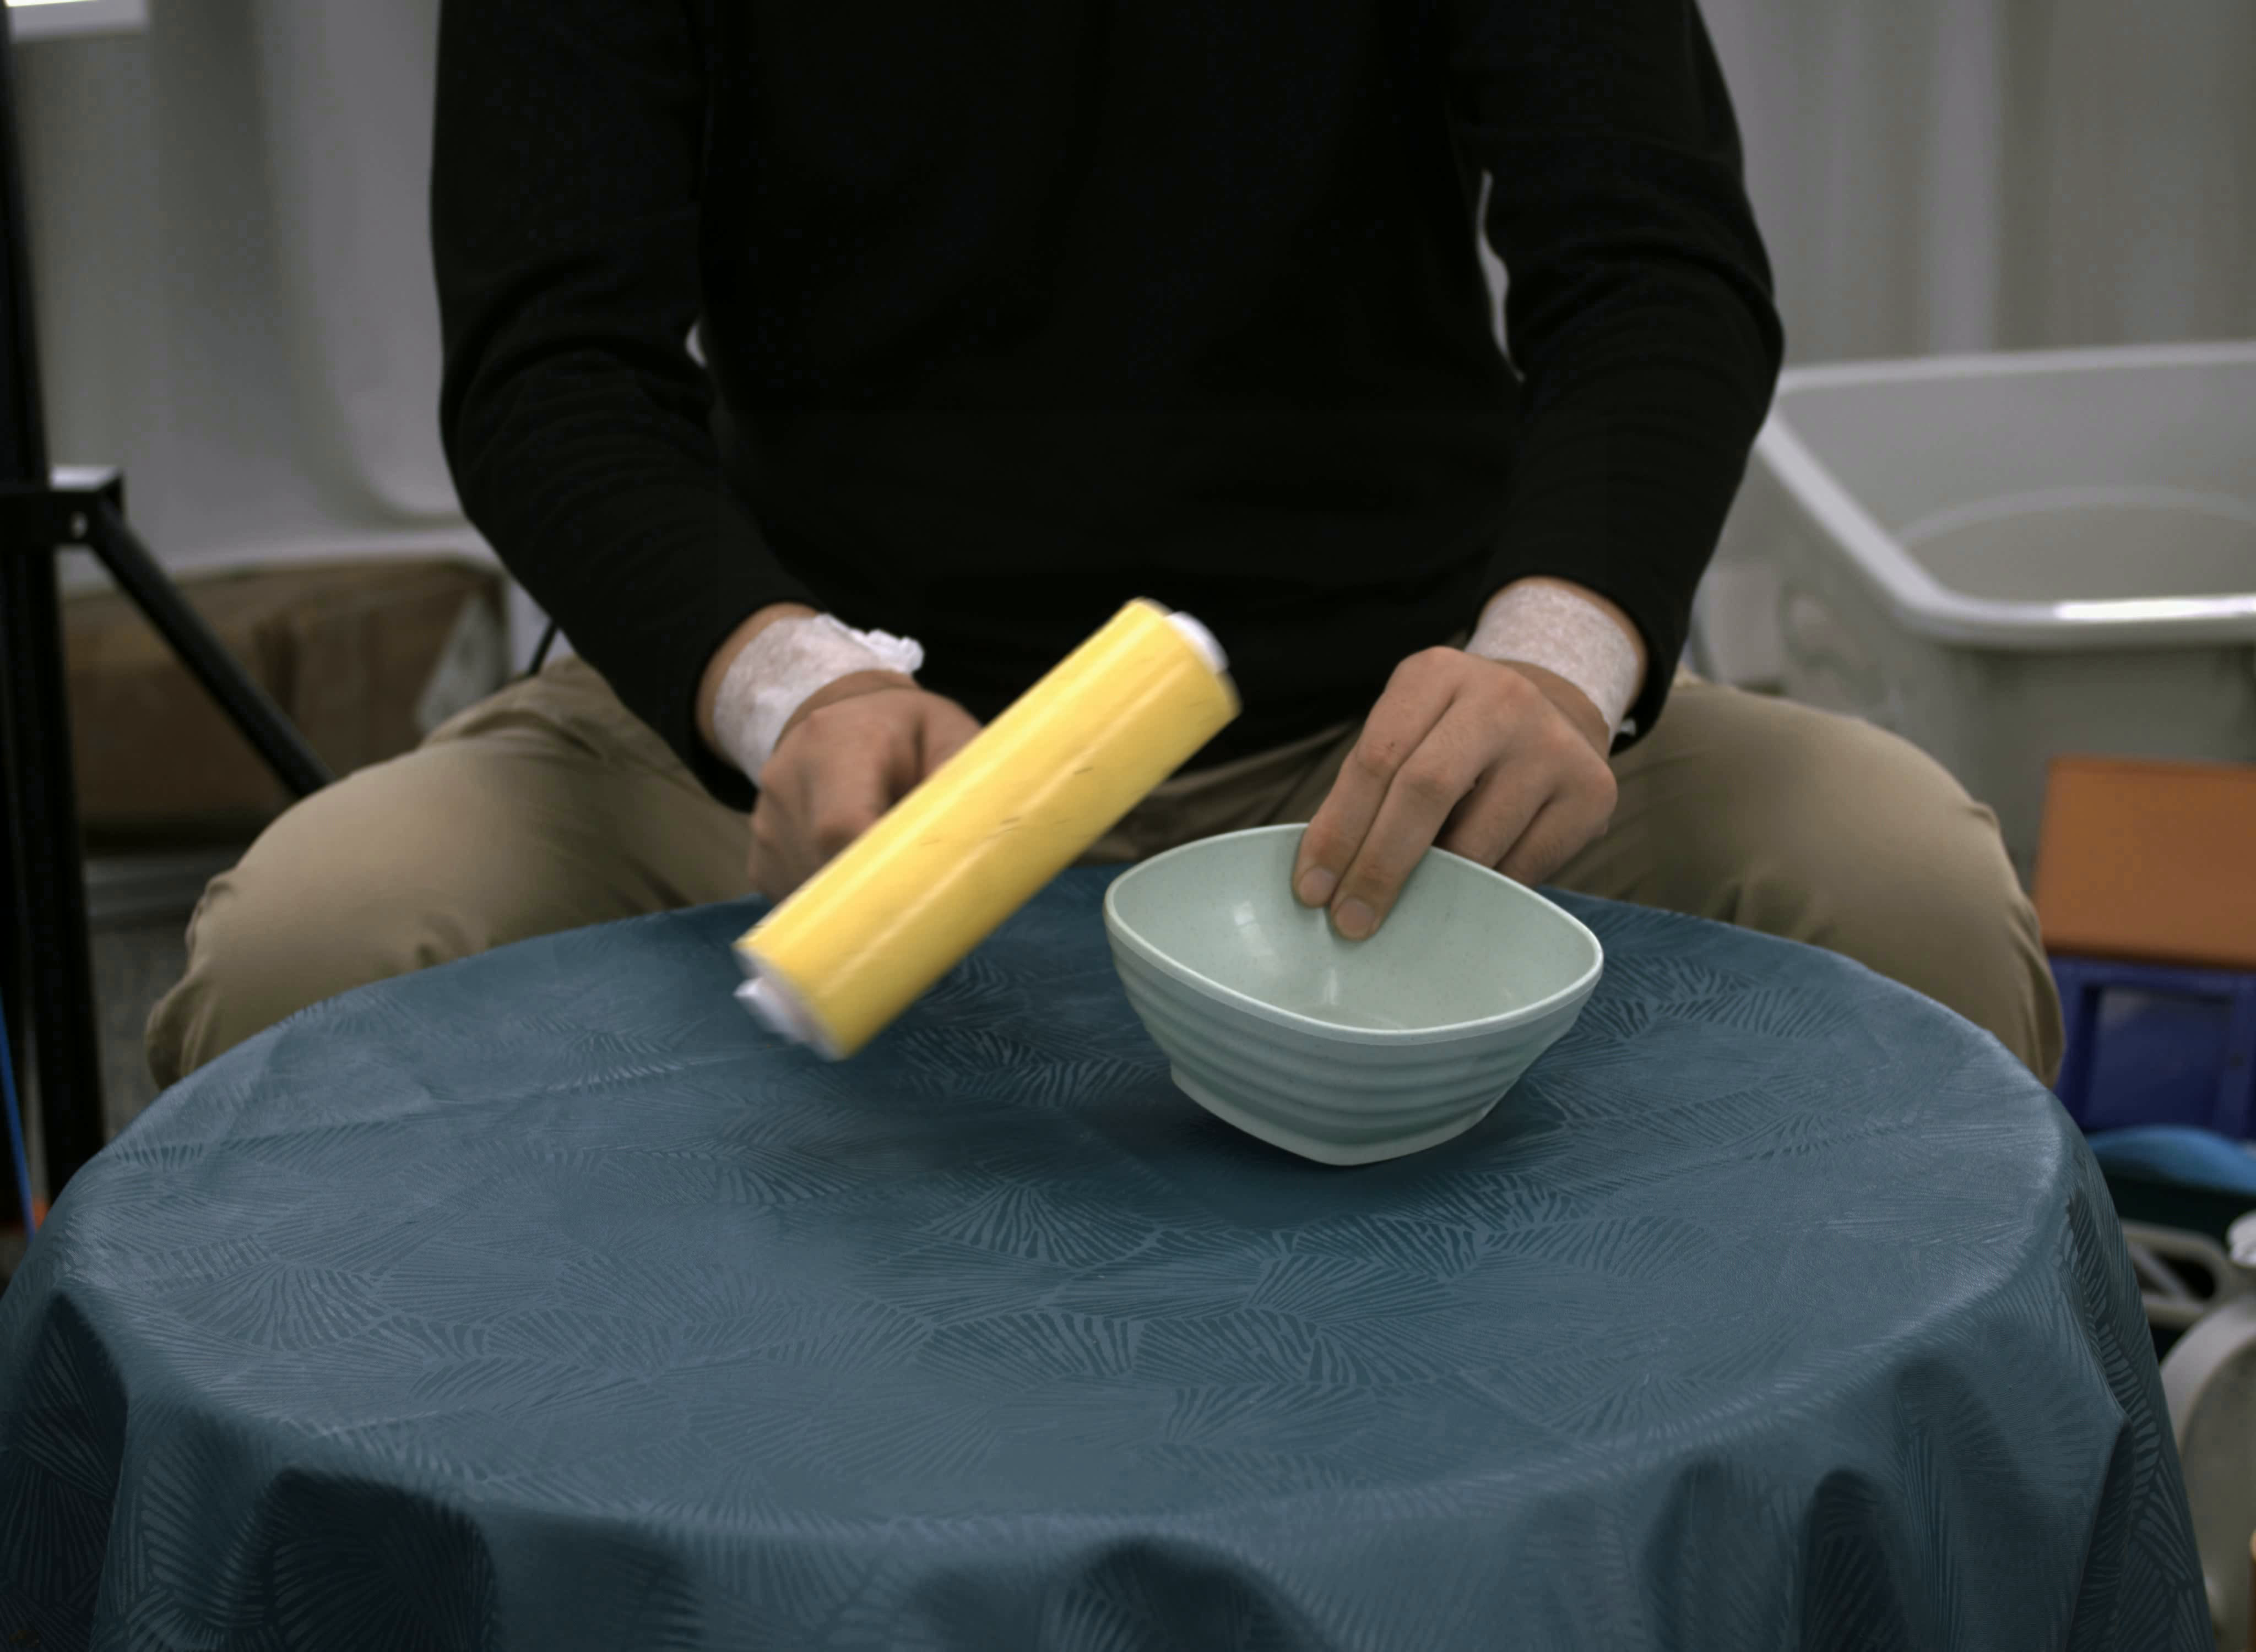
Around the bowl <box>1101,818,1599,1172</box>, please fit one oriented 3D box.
[{"bbox_3d":[0.063,0.056,1.600,0.150,0.058,0.152,6,24,-4],"label":"bowl"}]

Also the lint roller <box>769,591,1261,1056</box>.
[{"bbox_3d":[-0.063,-0.006,1.661,0.173,0.051,0.195,-43,21,-15],"label":"lint roller"}]
